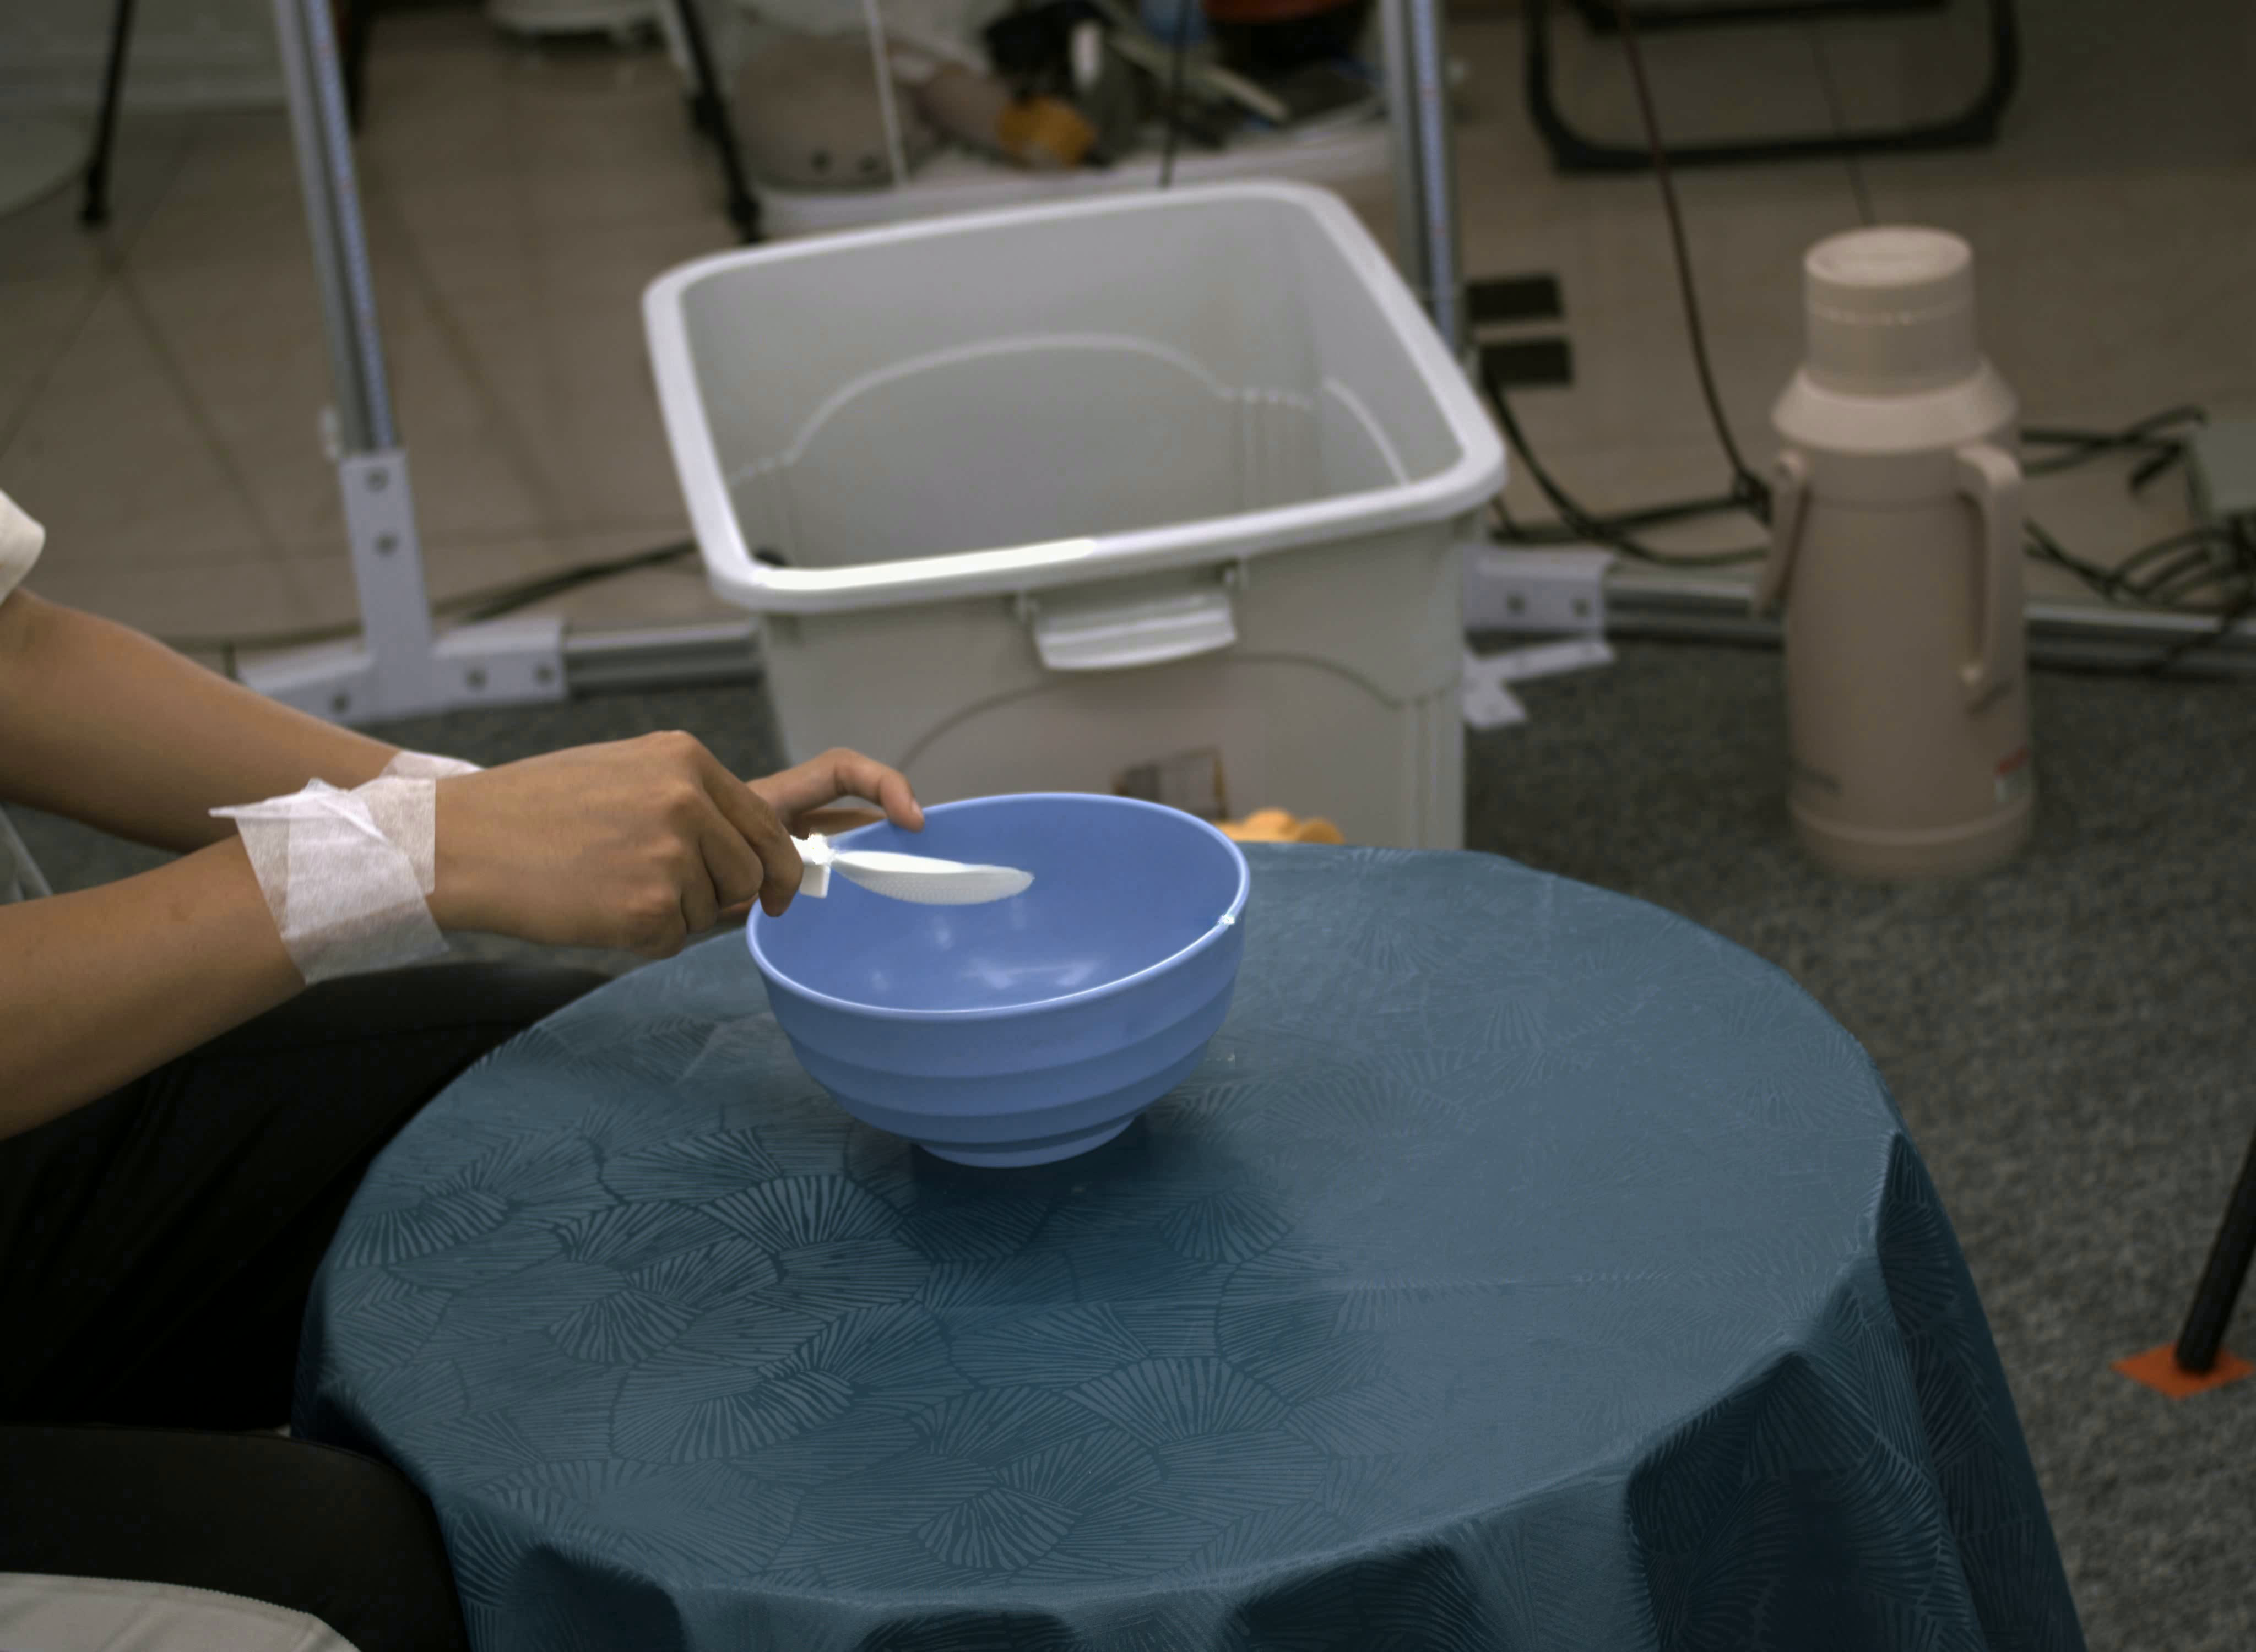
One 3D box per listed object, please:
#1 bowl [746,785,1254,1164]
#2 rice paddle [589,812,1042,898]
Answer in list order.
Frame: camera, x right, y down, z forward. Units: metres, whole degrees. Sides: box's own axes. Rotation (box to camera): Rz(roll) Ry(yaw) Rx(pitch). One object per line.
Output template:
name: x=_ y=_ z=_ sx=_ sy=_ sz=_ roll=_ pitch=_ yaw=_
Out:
bowl: x=-0.046 y=0.068 z=2.198 sx=0.196 sy=0.097 sz=0.193 roll=-4 pitch=26 yaw=2
rice paddle: x=-0.110 y=0.011 z=2.056 sx=0.068 sy=0.029 sz=0.205 roll=12 pitch=7 yaw=42
